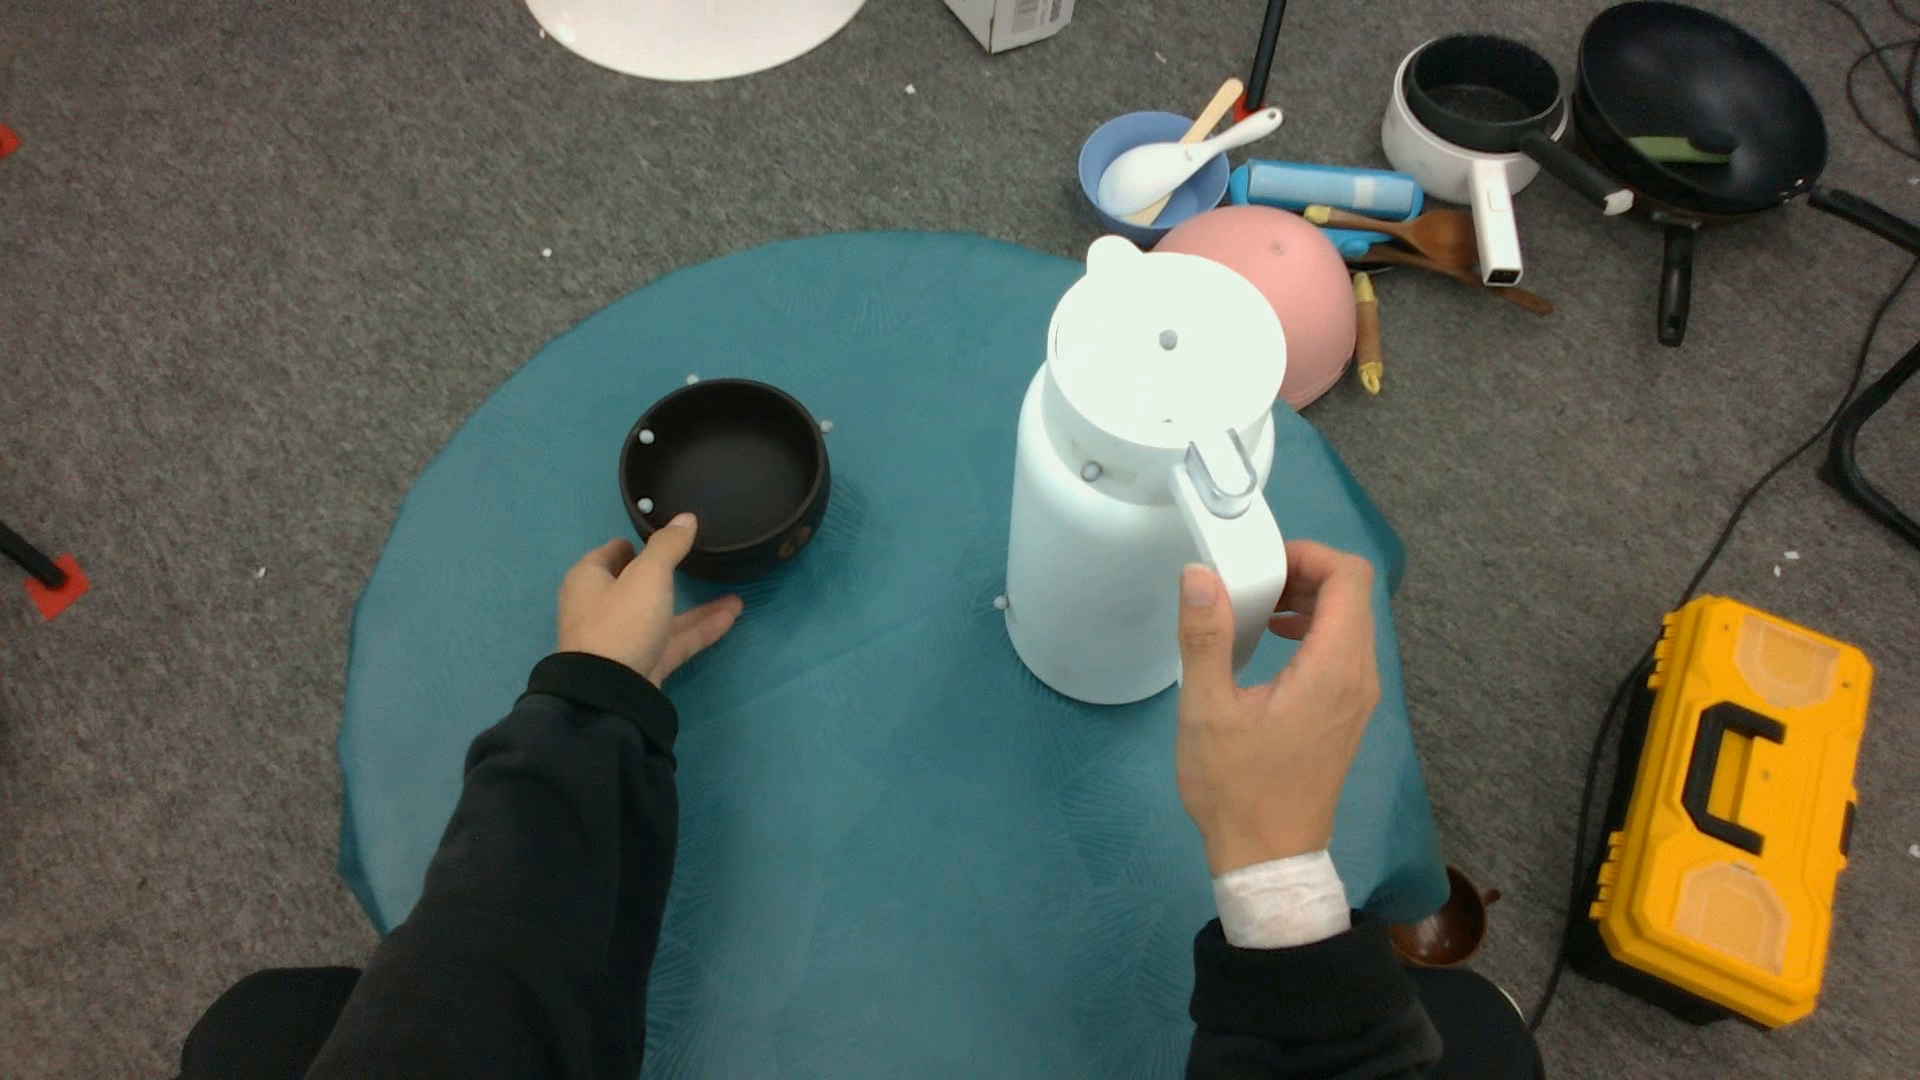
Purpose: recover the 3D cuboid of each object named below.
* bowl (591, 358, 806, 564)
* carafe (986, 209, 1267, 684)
[{"bbox_3d":[-0.147,-0.039,0.792,0.118,0.069,0.118,1,63,-2],"label":"bowl"},{"bbox_3d":[0.082,-0.015,0.678,0.124,0.267,0.173,-18,64,-12],"label":"carafe"}]
